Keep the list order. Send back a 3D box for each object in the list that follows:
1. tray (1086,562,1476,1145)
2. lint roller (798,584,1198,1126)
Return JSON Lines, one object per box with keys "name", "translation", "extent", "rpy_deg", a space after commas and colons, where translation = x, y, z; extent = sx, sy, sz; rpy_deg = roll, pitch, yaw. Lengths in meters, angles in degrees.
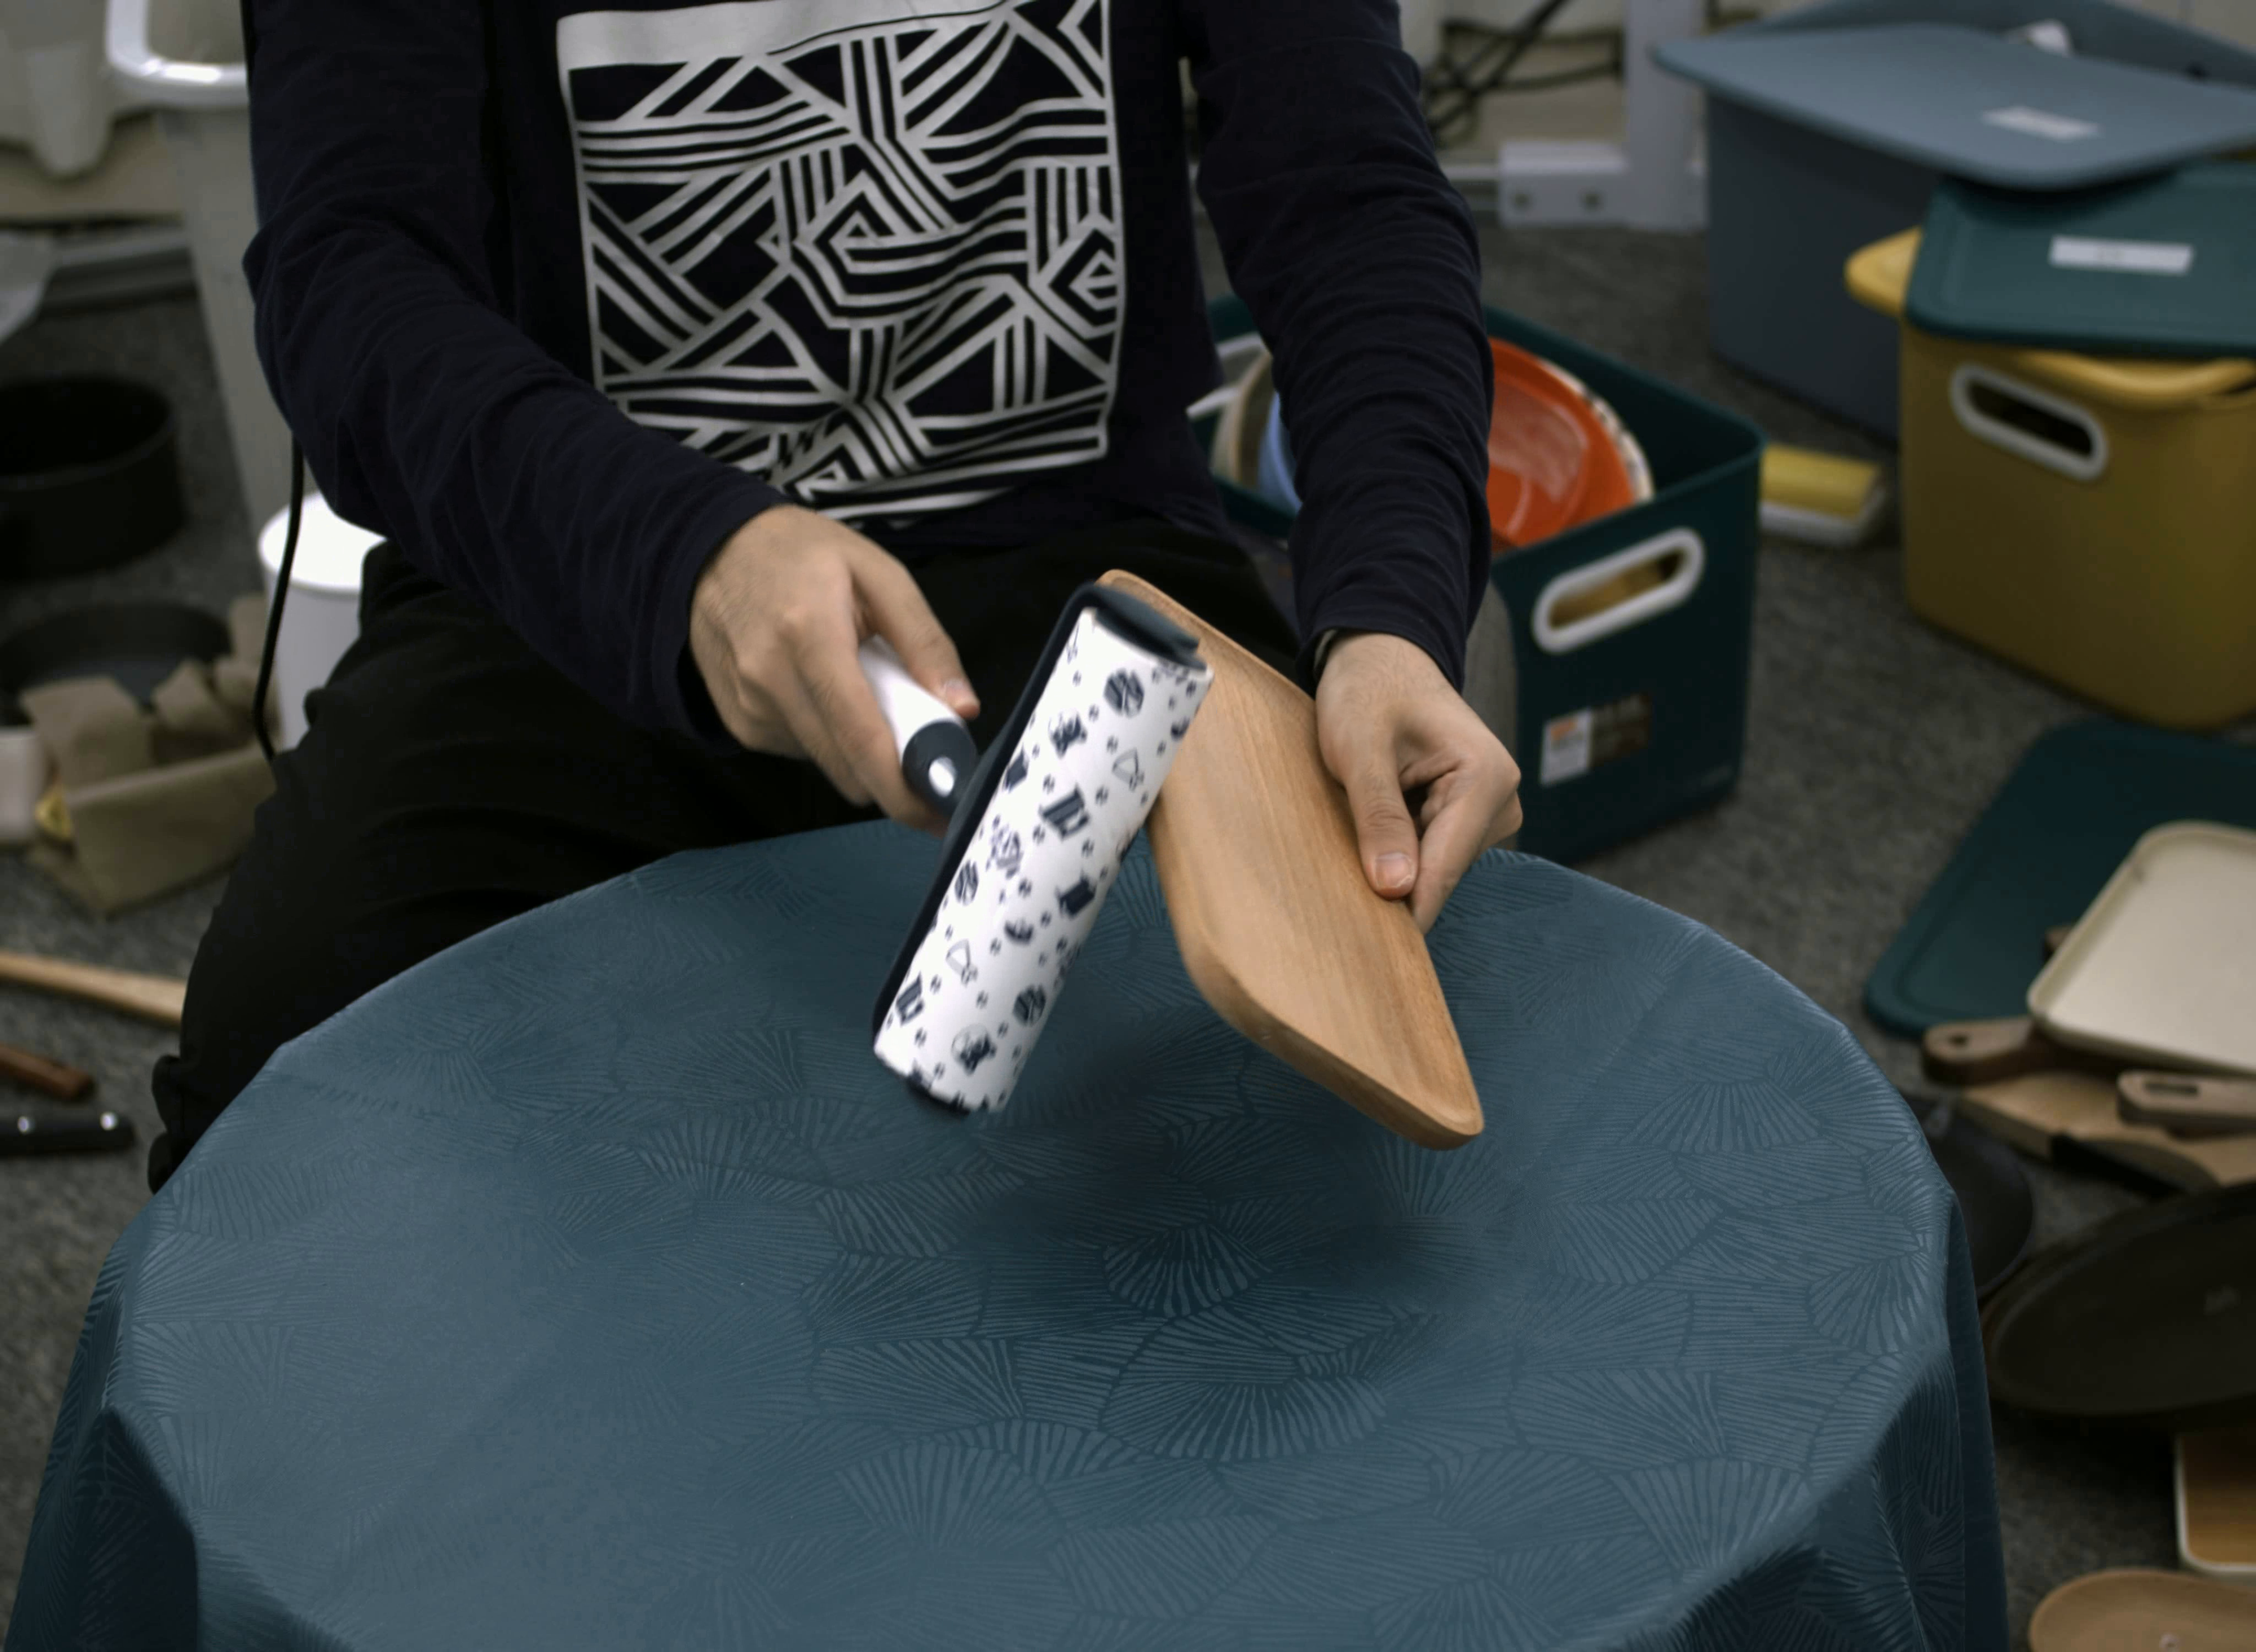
{"name": "tray", "translation": [0.047, 0.007, 1.862], "extent": [0.022, 0.130, 0.254], "rpy_deg": [-43, 30, 18]}
{"name": "lint roller", "translation": [-0.069, -0.024, 1.891], "extent": [0.050, 0.175, 0.248], "rpy_deg": [19, 12, -30]}
